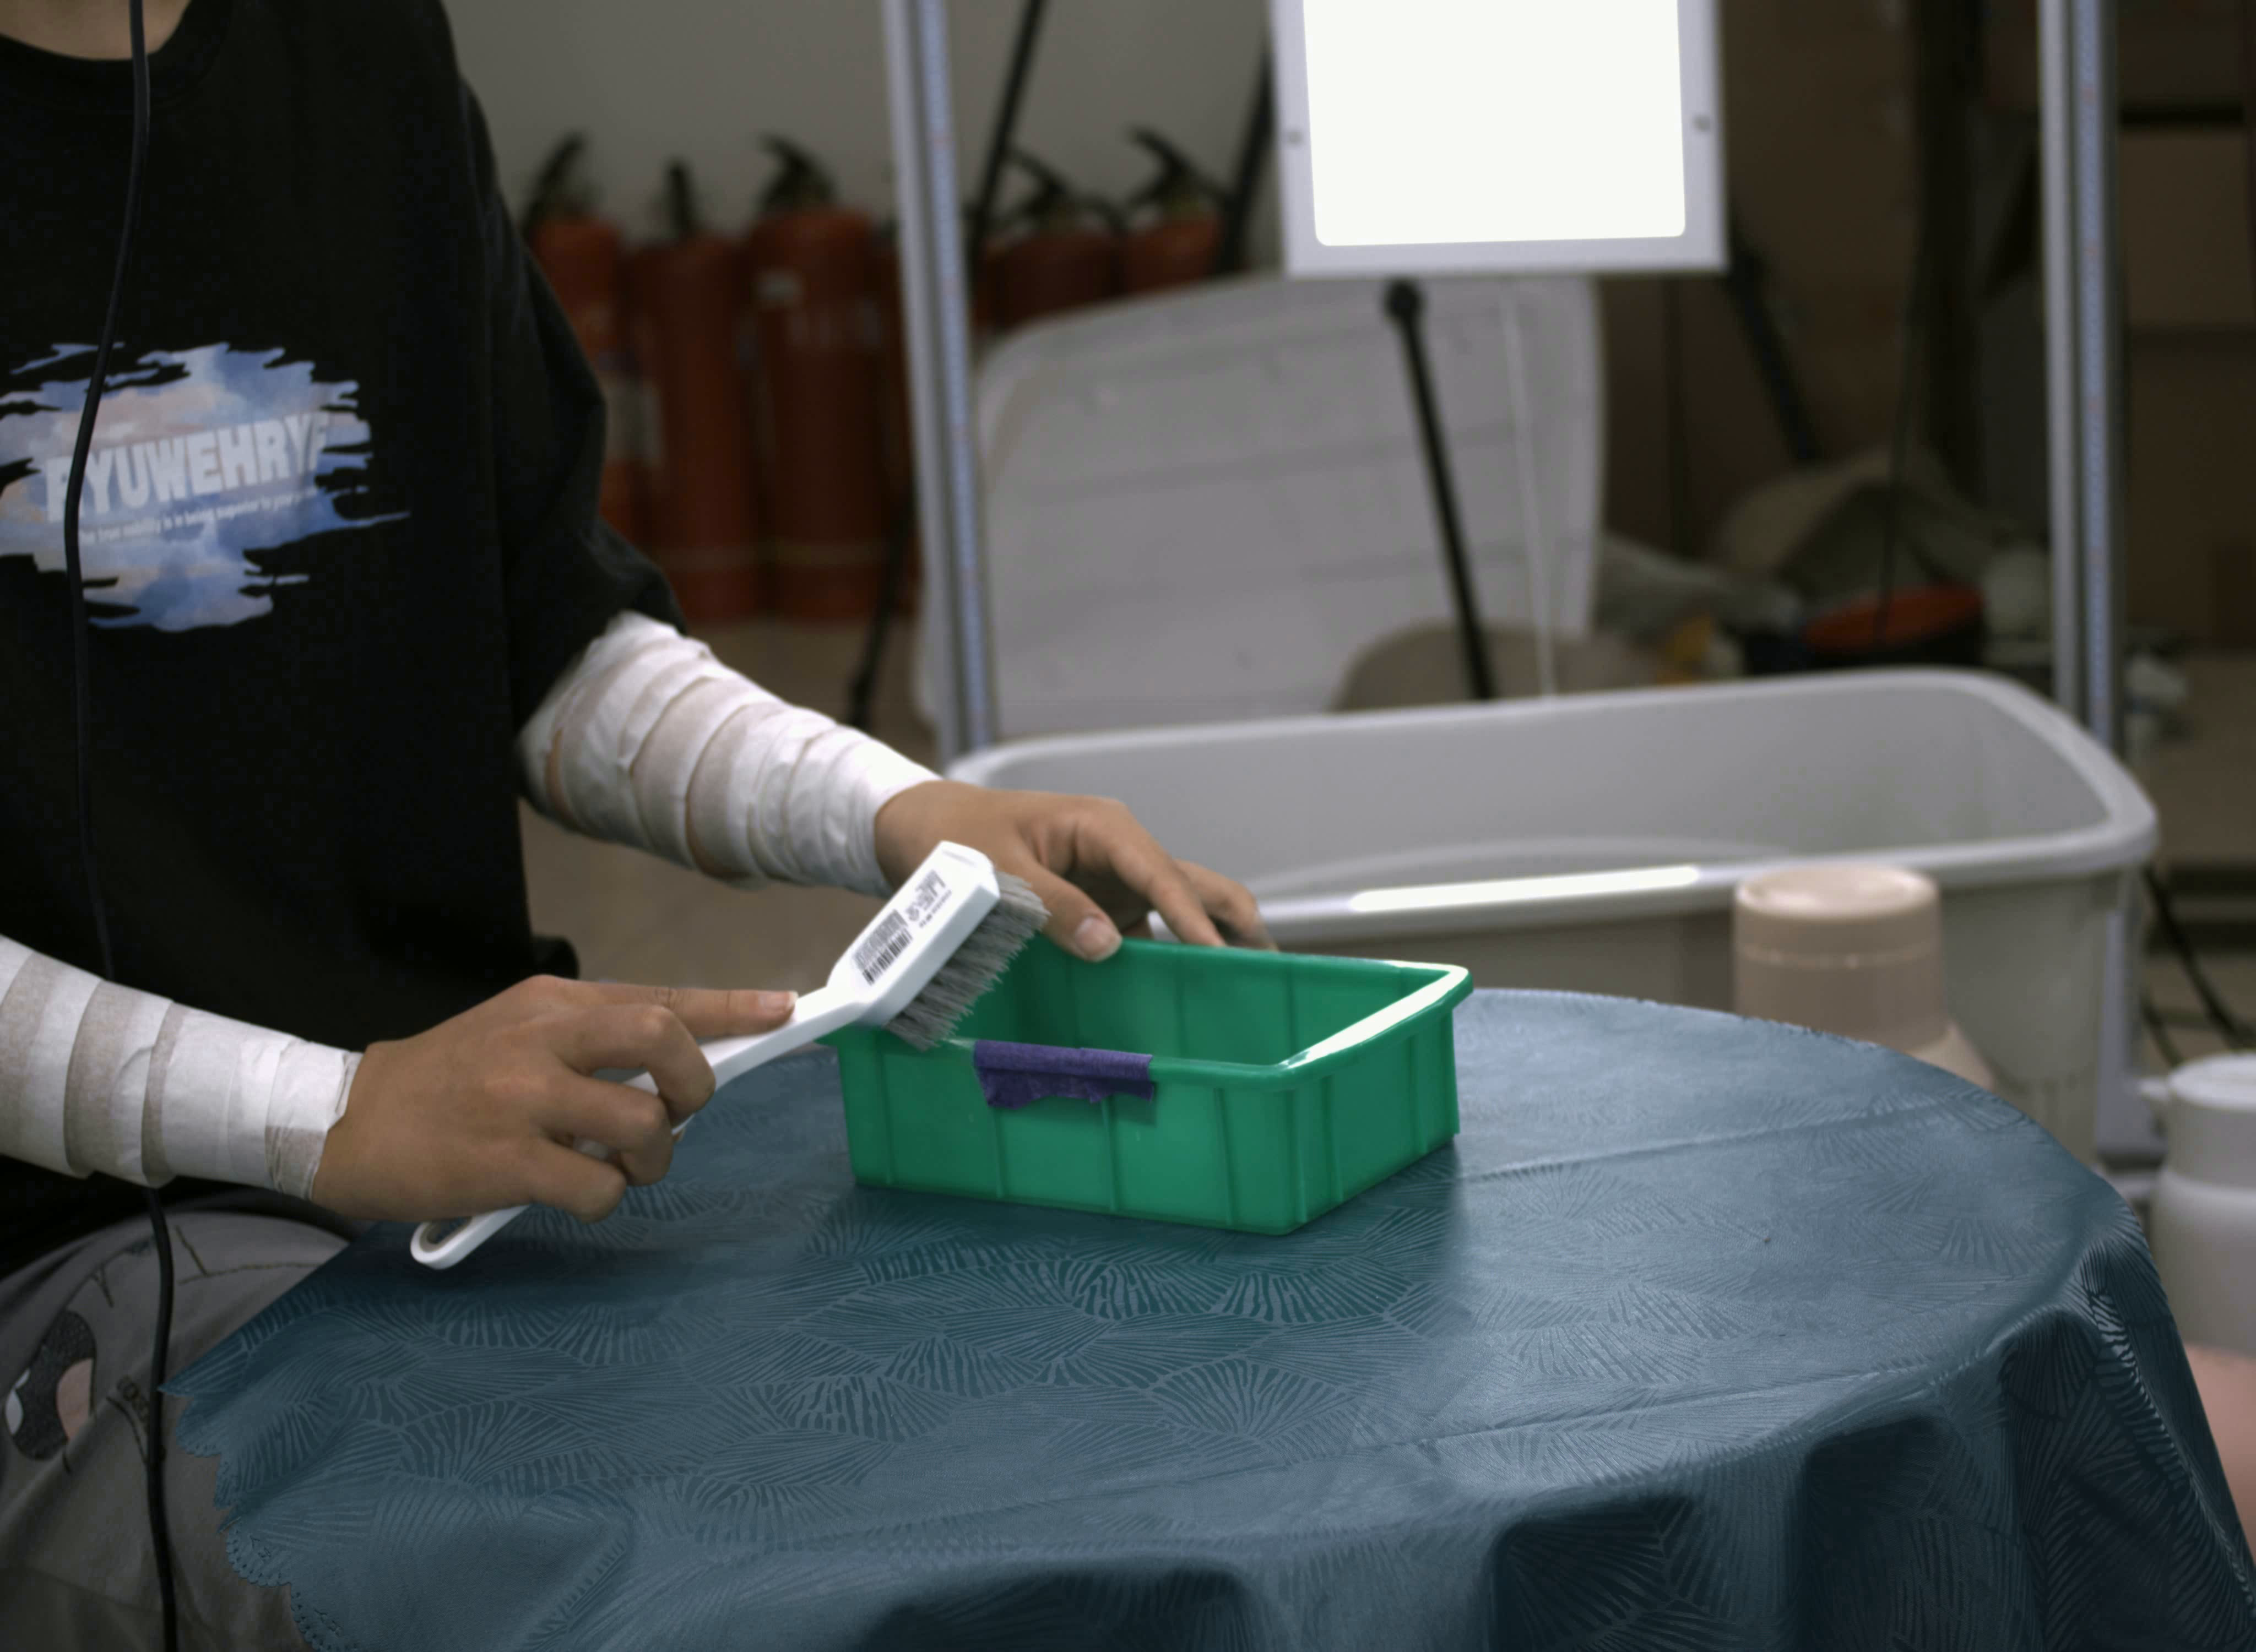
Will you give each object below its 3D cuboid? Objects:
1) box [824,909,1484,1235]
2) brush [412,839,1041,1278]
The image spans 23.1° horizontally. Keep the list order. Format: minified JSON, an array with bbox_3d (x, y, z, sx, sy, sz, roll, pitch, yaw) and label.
[{"bbox_3d":[0.012,0.085,1.925,0.214,0.065,0.135,6,21,33],"label":"box"},{"bbox_3d":[-0.134,0.089,1.876,0.242,0.050,0.035,-37,41,-4],"label":"brush"}]
